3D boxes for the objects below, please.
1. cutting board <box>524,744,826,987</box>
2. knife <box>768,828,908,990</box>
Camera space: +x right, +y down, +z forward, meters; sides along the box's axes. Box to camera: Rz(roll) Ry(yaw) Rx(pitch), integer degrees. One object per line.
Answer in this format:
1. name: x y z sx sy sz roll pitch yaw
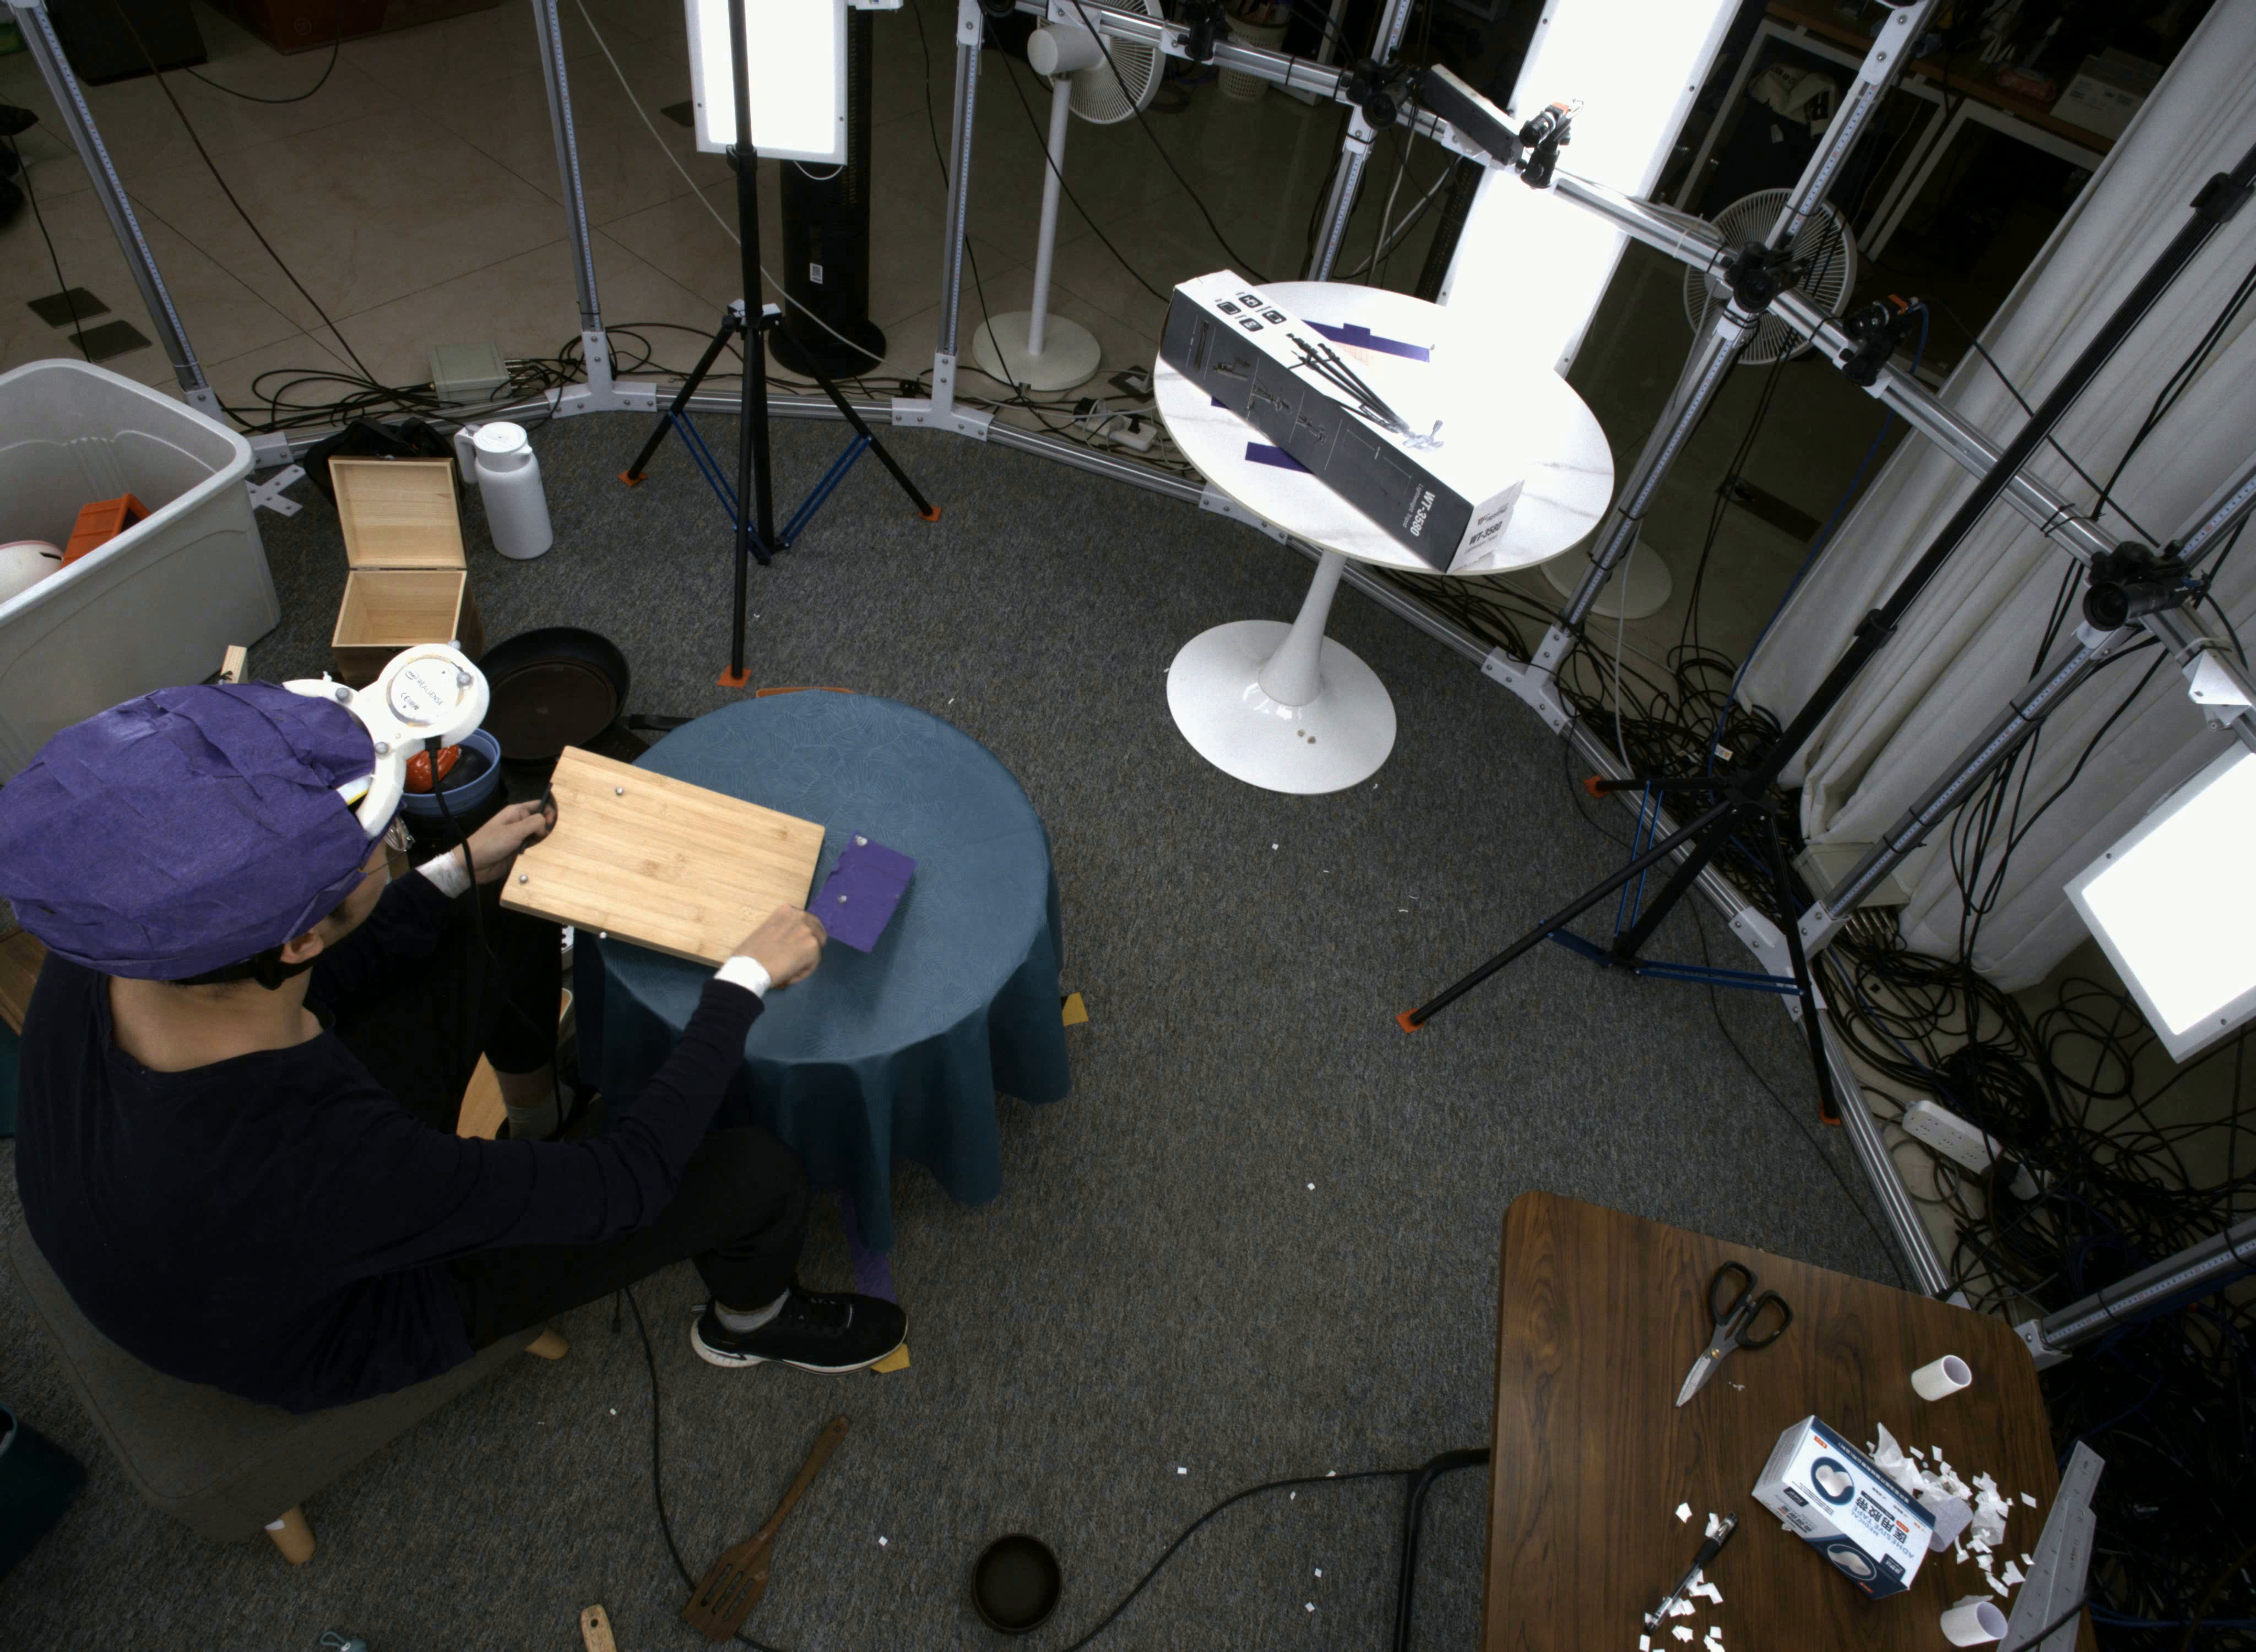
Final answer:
1. cutting board: -0.567 0.044 1.597 0.353 0.024 0.246 18 50 -20
2. knife: -0.341 0.099 1.578 0.104 0.032 0.310 24 33 -6
